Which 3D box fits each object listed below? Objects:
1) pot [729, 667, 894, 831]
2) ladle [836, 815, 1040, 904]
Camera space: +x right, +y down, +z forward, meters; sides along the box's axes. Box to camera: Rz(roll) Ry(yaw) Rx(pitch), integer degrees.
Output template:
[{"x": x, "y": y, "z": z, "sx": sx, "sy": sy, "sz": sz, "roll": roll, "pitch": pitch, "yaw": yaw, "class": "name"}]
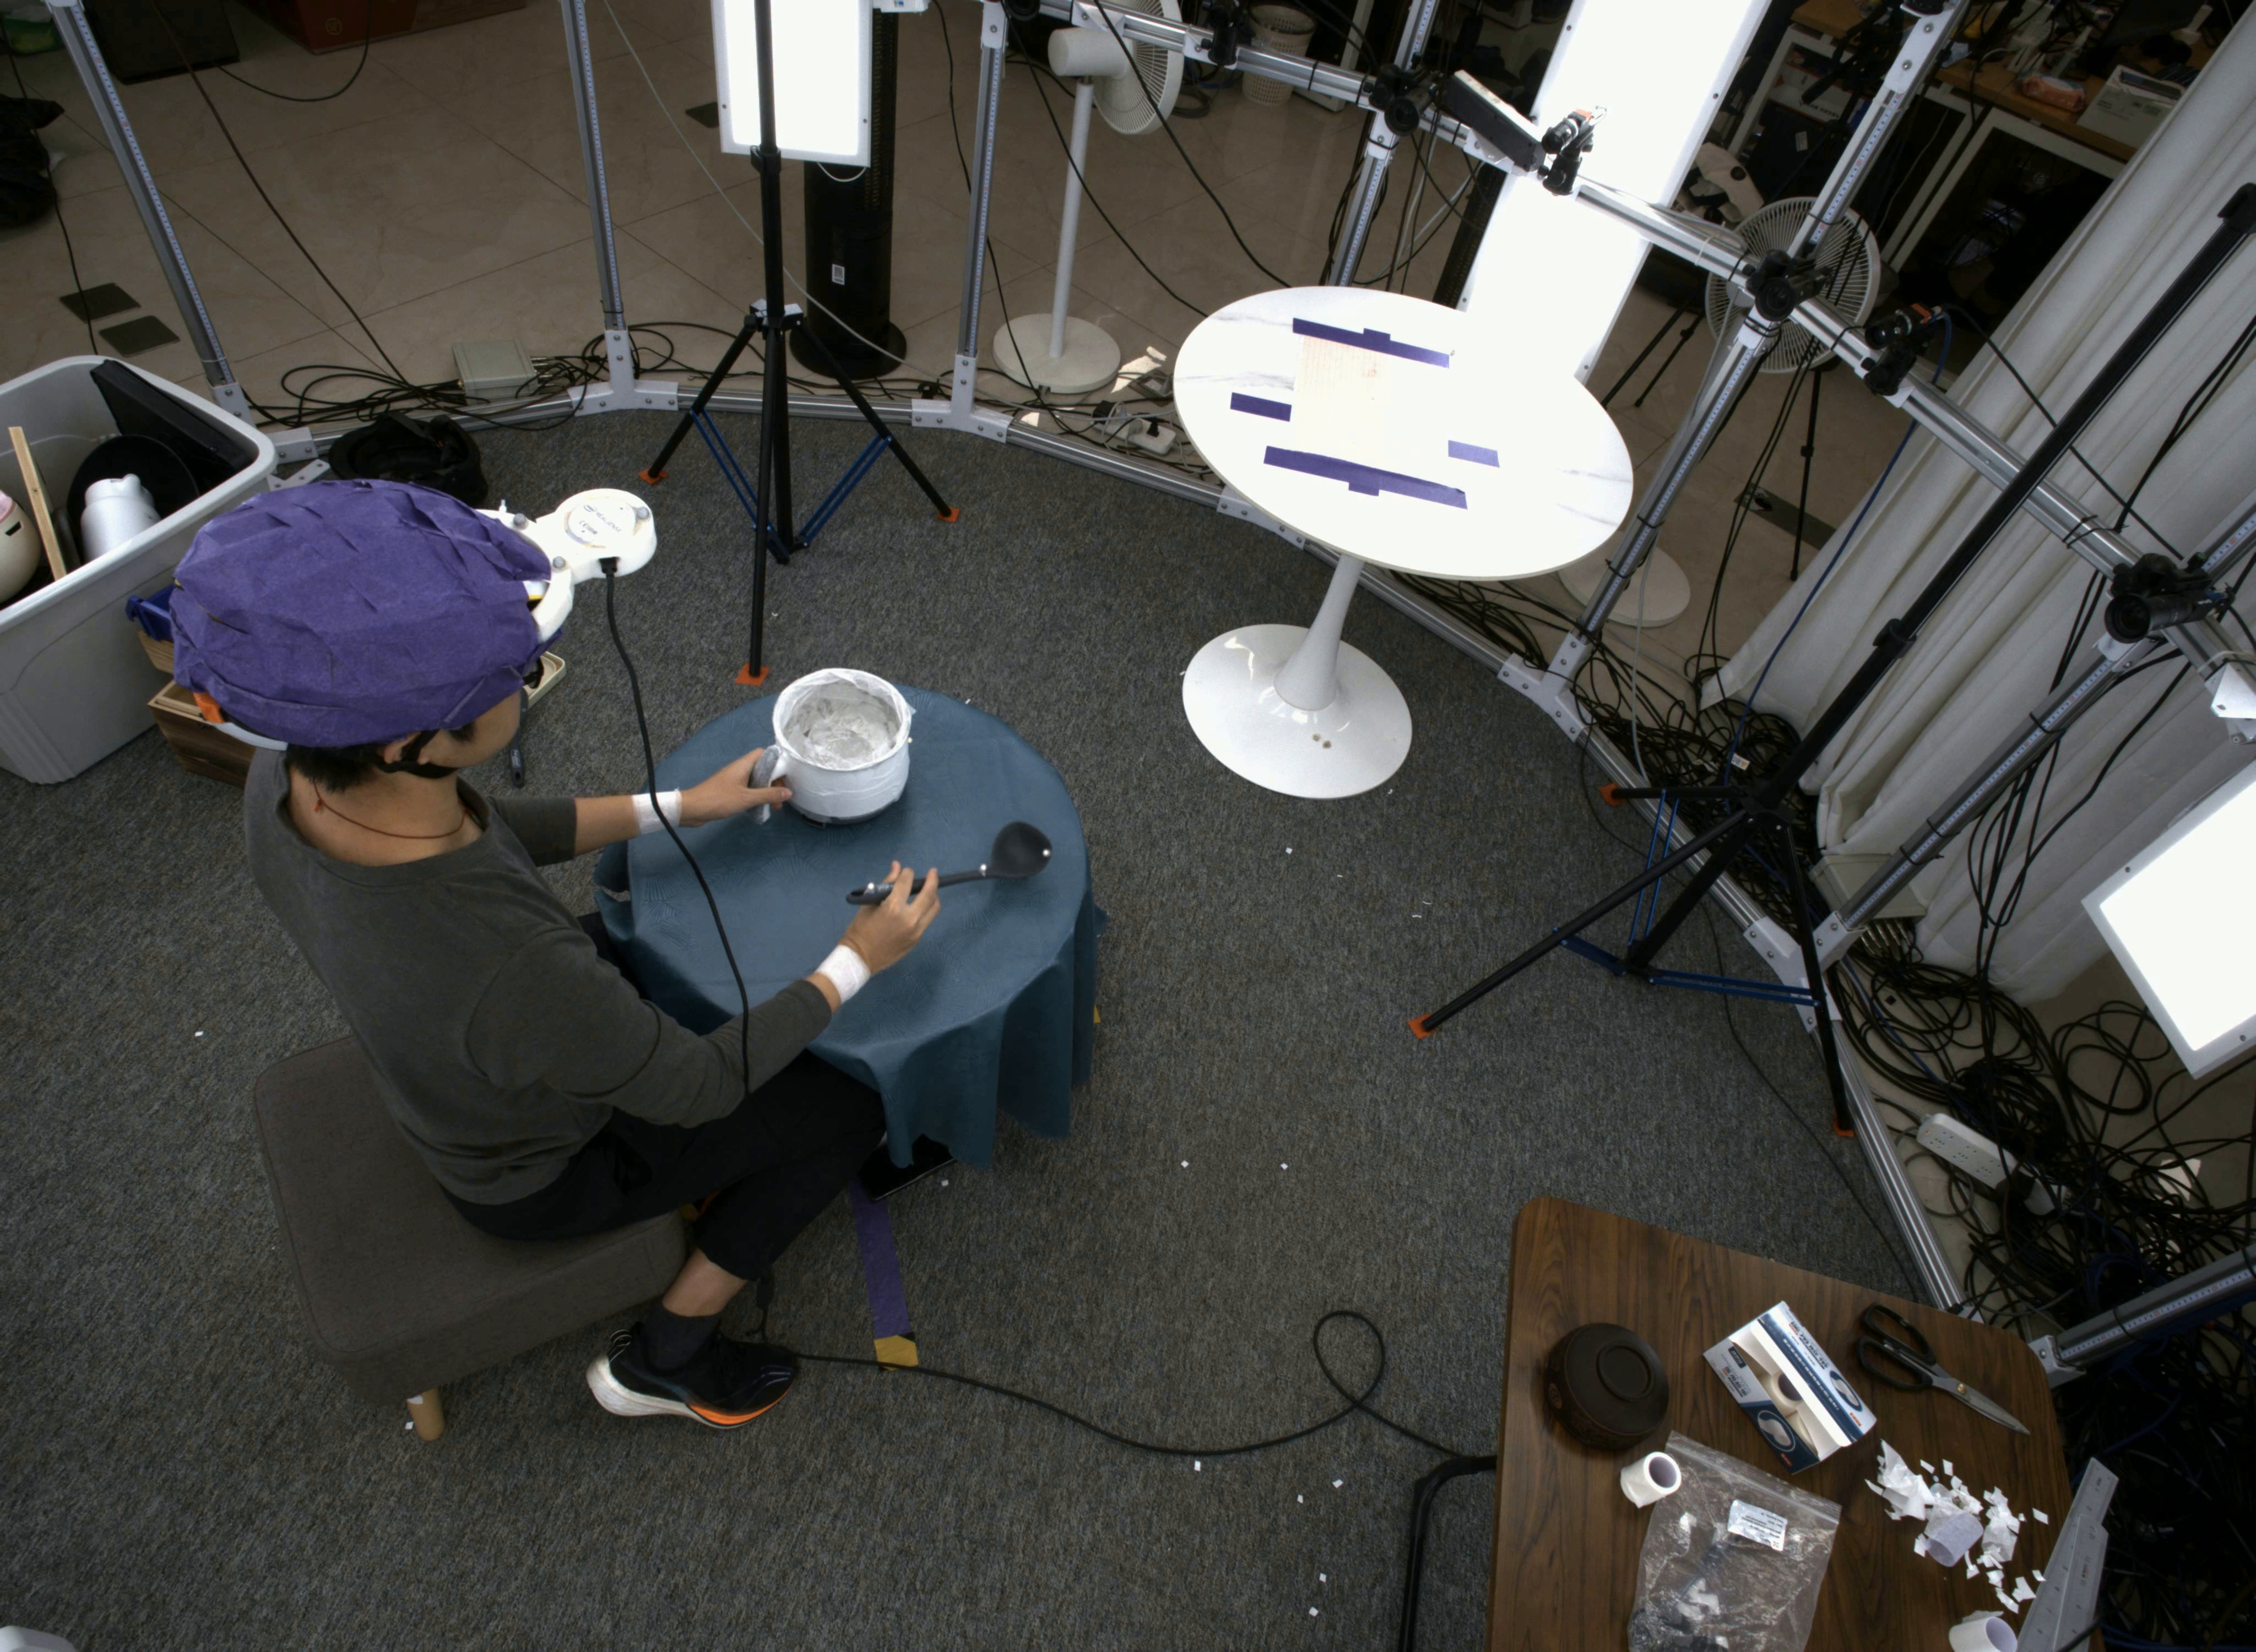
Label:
[{"x": -0.422, "y": -0.088, "z": 1.713, "sx": 0.234, "sy": 0.139, "sz": 0.174, "roll": -34, "pitch": 66, "yaw": -32, "class": "pot"}, {"x": -0.234, "y": 0.043, "z": 1.613, "sx": 0.083, "sy": 0.065, "sz": 0.319, "roll": 31, "pitch": 24, "yaw": 29, "class": "ladle"}]
